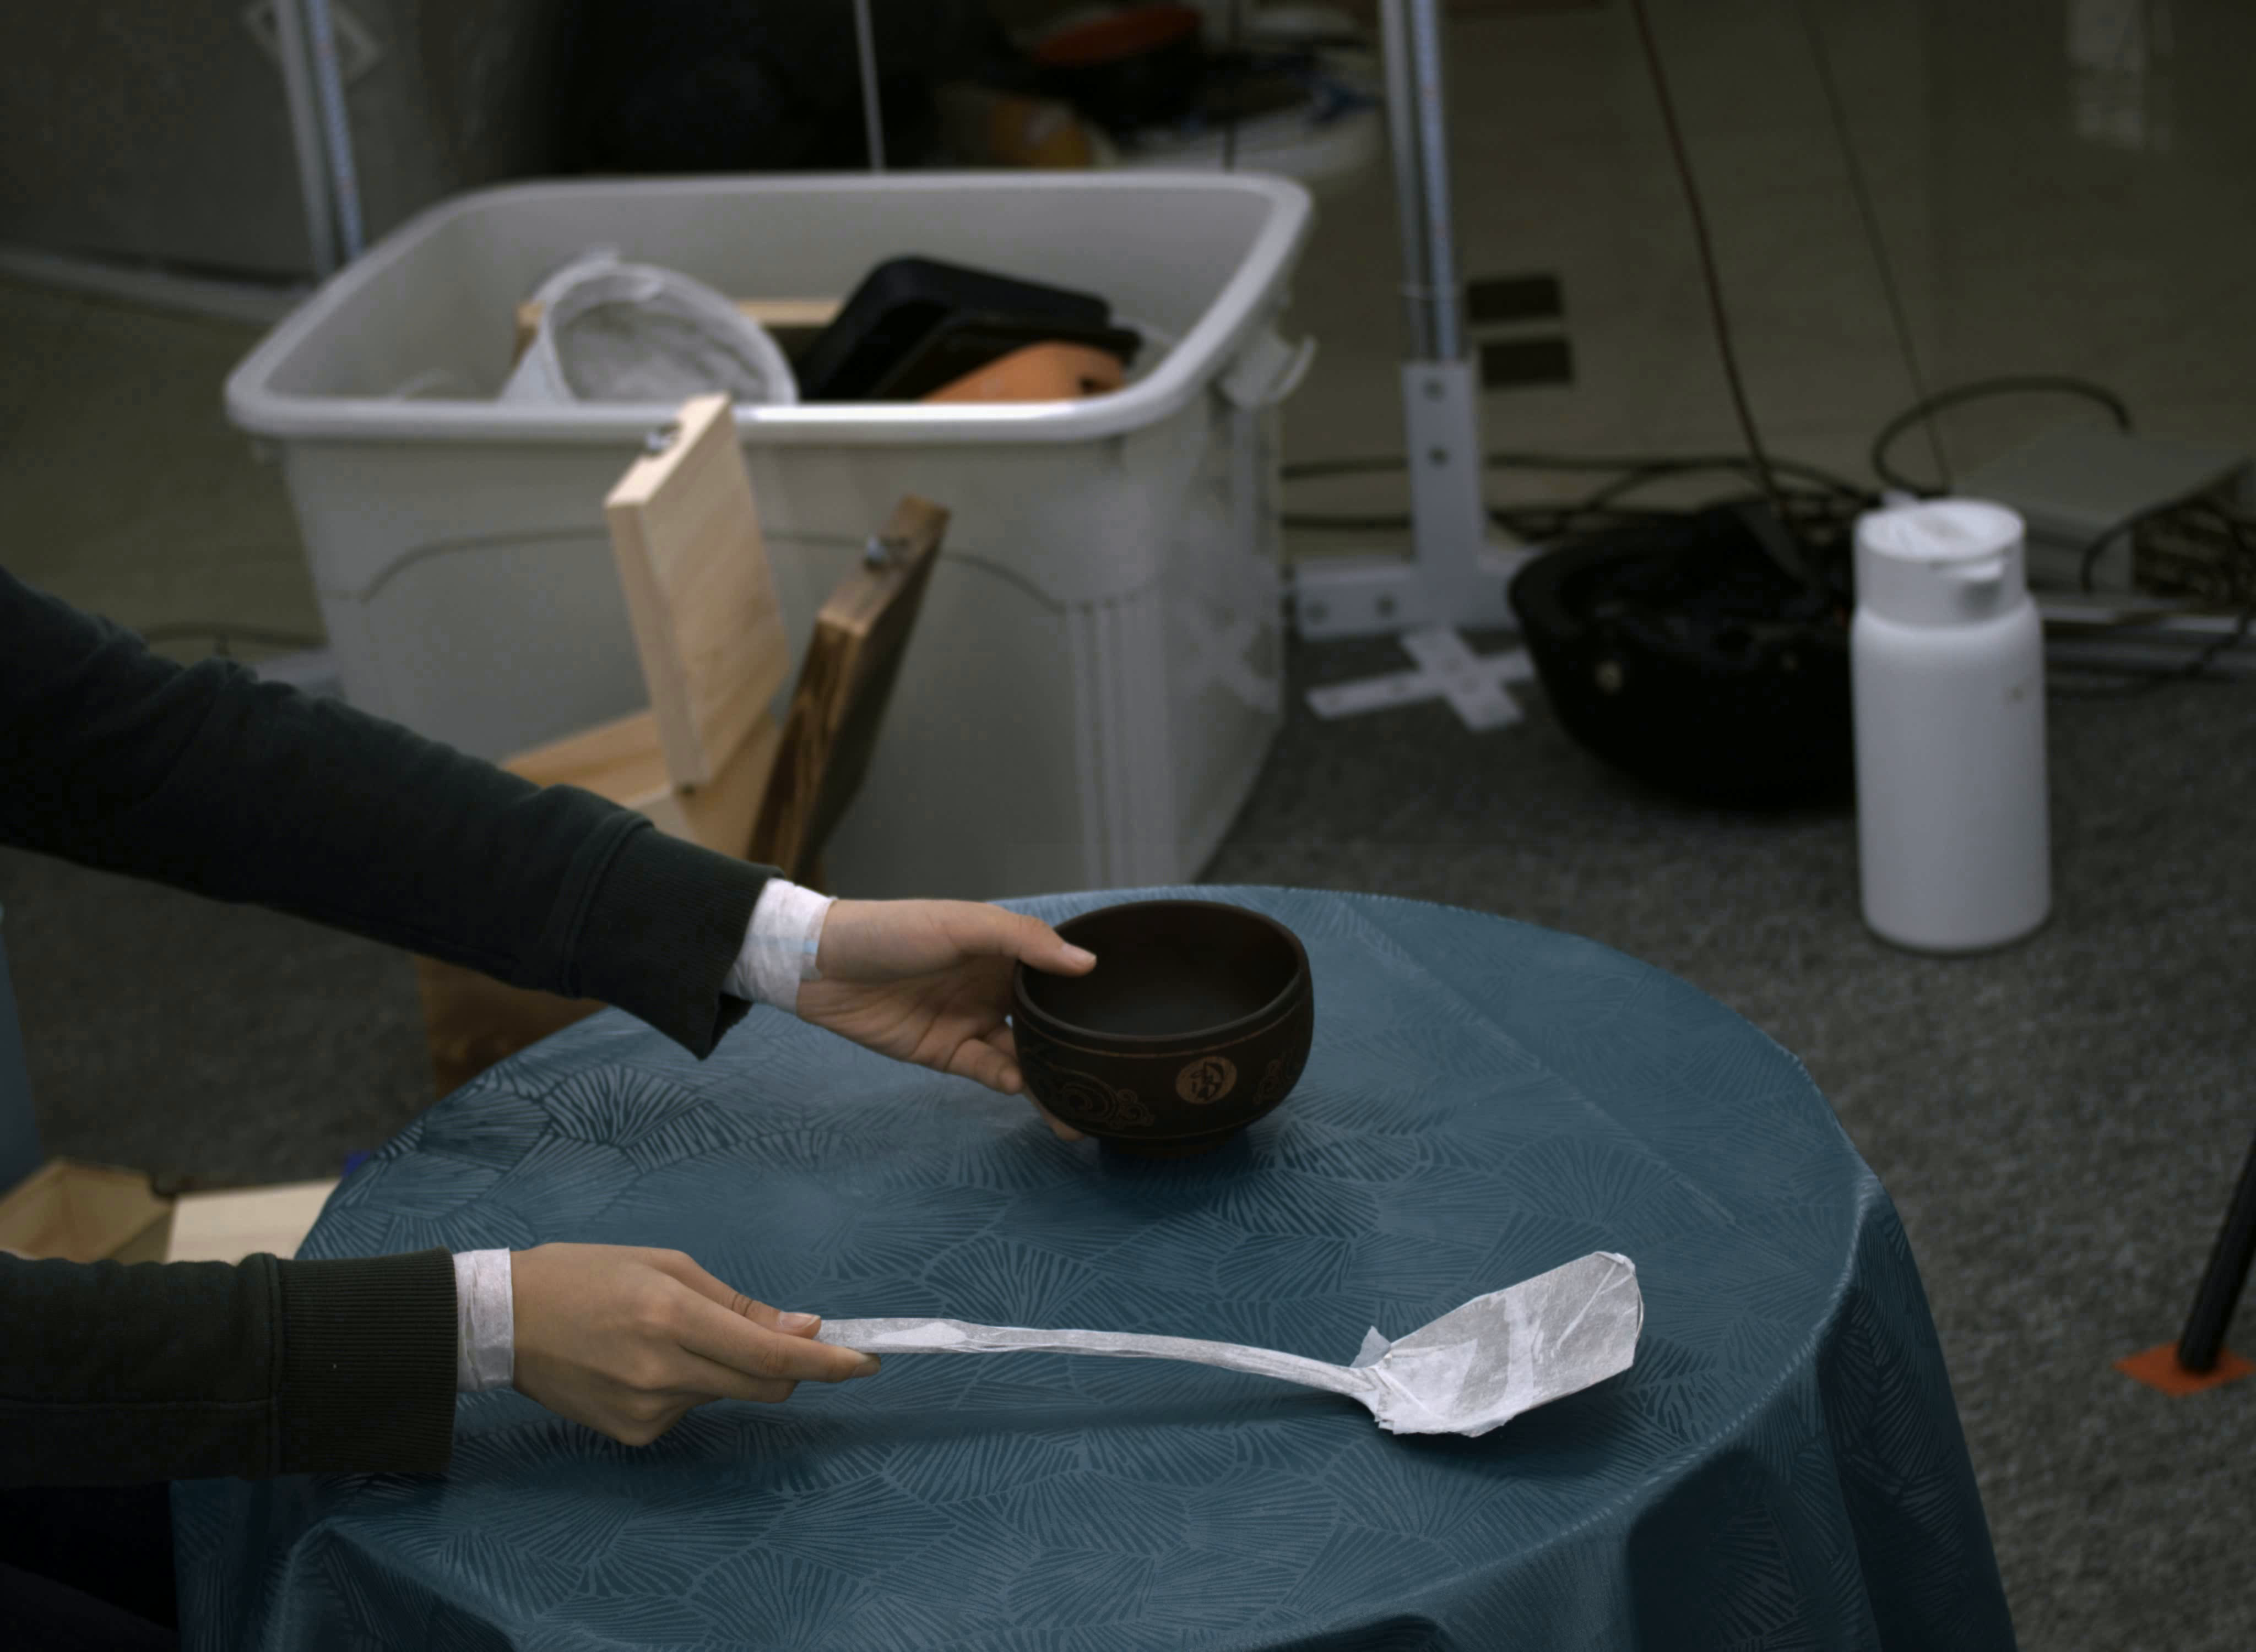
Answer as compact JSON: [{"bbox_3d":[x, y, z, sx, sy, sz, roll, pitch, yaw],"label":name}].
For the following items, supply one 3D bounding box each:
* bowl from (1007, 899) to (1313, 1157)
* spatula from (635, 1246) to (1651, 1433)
[{"bbox_3d":[0.013,0.084,2.178,0.118,0.071,0.116,-3,26,2],"label":"bowl"},{"bbox_3d":[0.001,0.178,2.001,0.364,0.045,0.097,3,27,7],"label":"spatula"}]
